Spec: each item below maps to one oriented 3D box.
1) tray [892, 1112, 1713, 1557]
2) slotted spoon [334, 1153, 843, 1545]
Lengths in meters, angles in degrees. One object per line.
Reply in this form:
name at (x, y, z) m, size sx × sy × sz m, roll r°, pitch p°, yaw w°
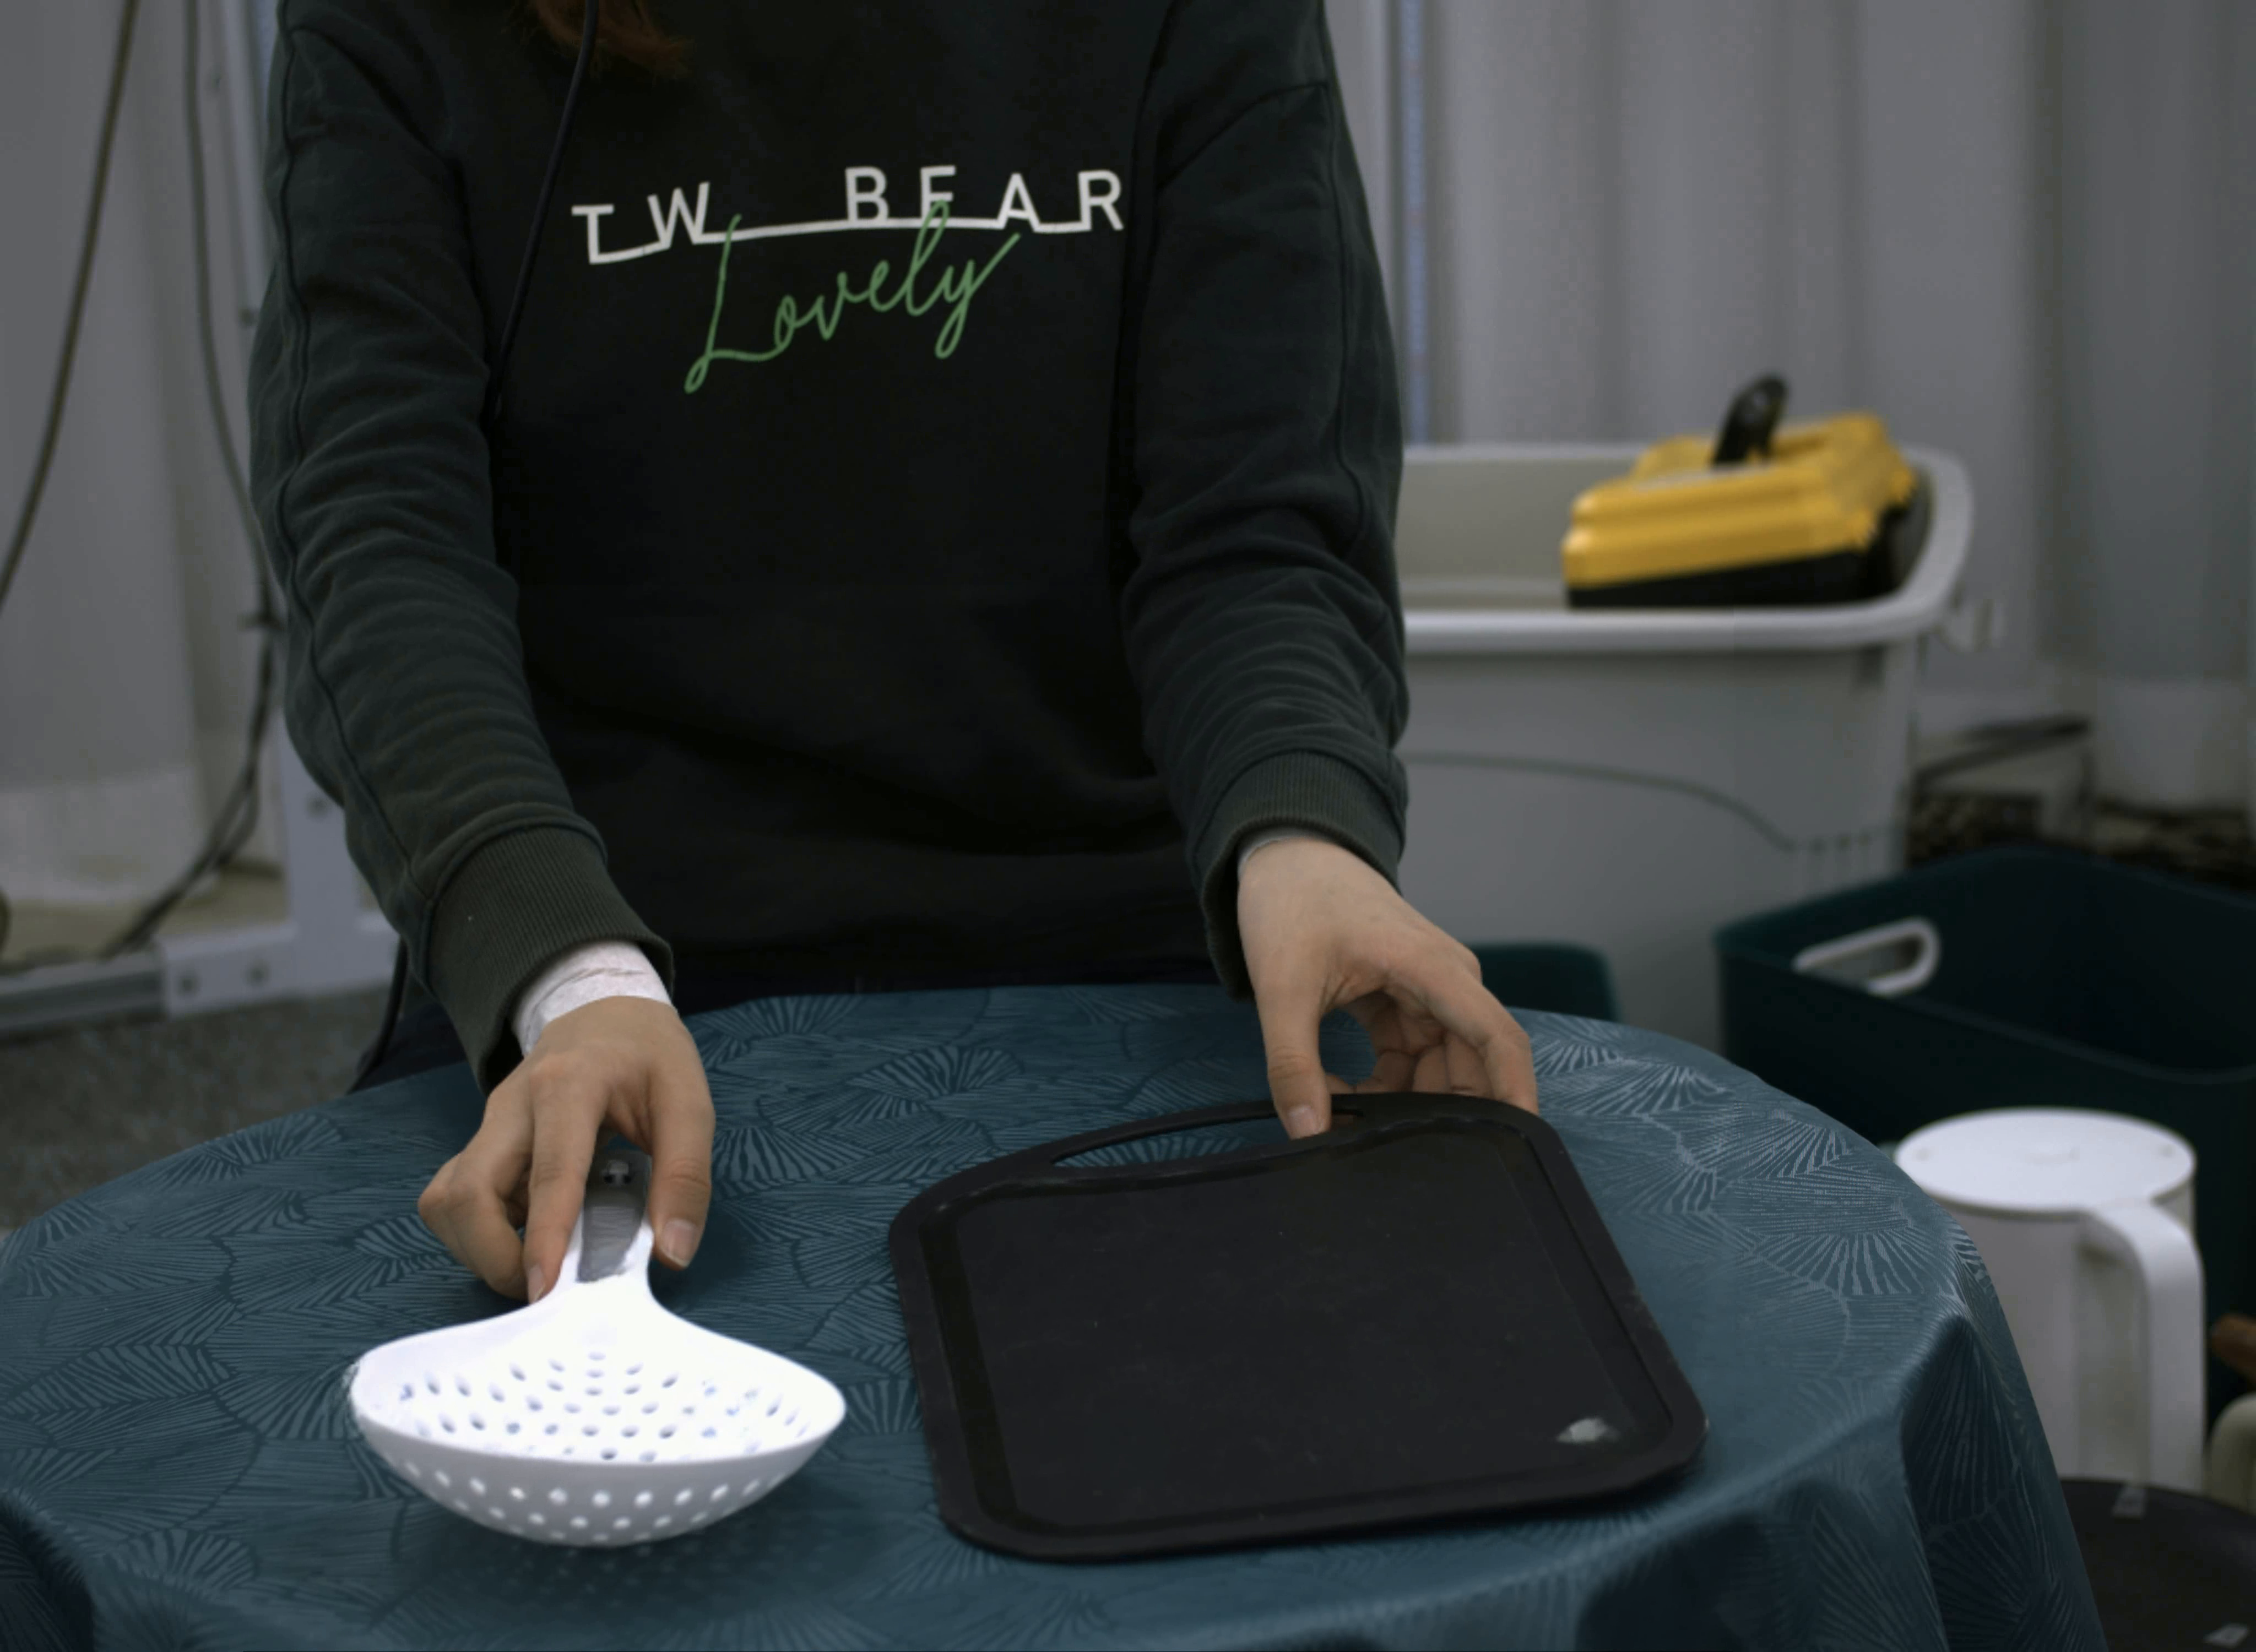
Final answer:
tray at (0.041, 0.138, 1.580) m, size 0.210 × 0.010 × 0.328 m, roll -6°, pitch 16°, yaw -4°
slotted spoon at (-0.150, 0.139, 1.560) m, size 0.135 × 0.045 × 0.352 m, roll 6°, pitch 14°, yaw -4°
